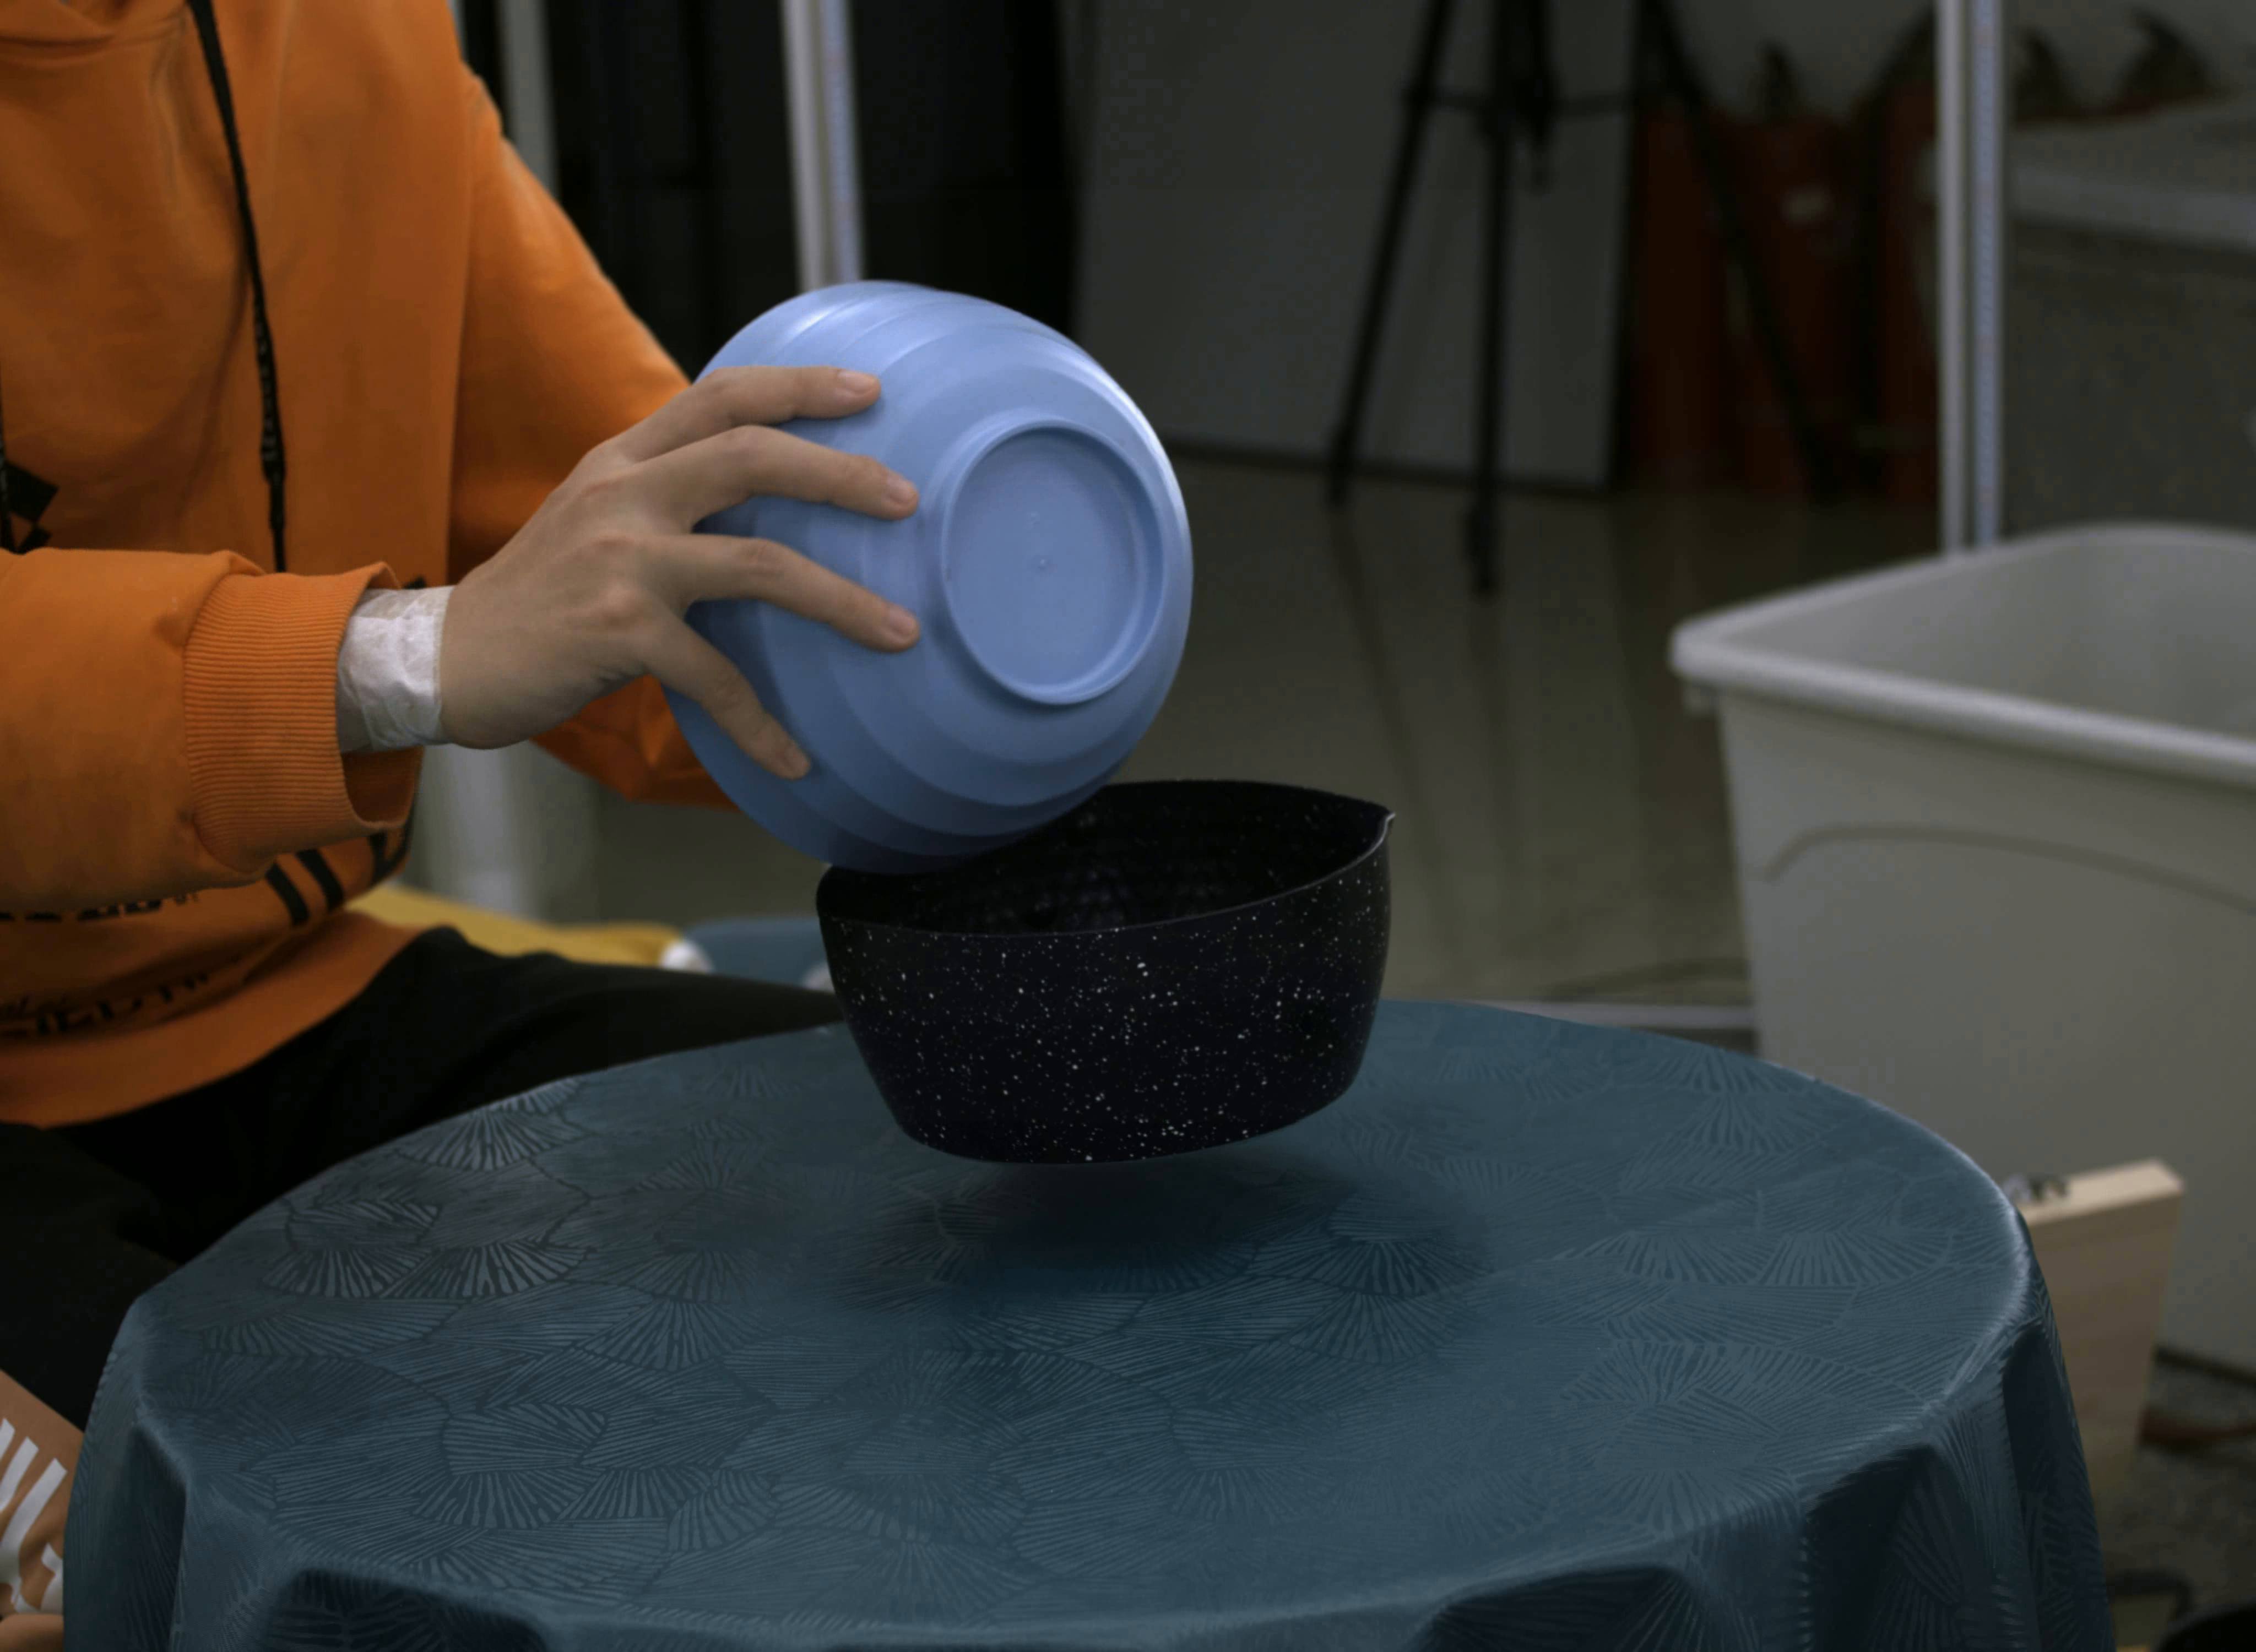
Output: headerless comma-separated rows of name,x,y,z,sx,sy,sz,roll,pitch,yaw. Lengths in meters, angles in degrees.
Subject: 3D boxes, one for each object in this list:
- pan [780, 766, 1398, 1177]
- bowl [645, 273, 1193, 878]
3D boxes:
pan,-0.030,0.021,1.815,0.203,0.109,0.346,-11,16,-15
bowl,-0.050,-0.085,1.739,0.192,0.199,0.096,-14,5,-37
